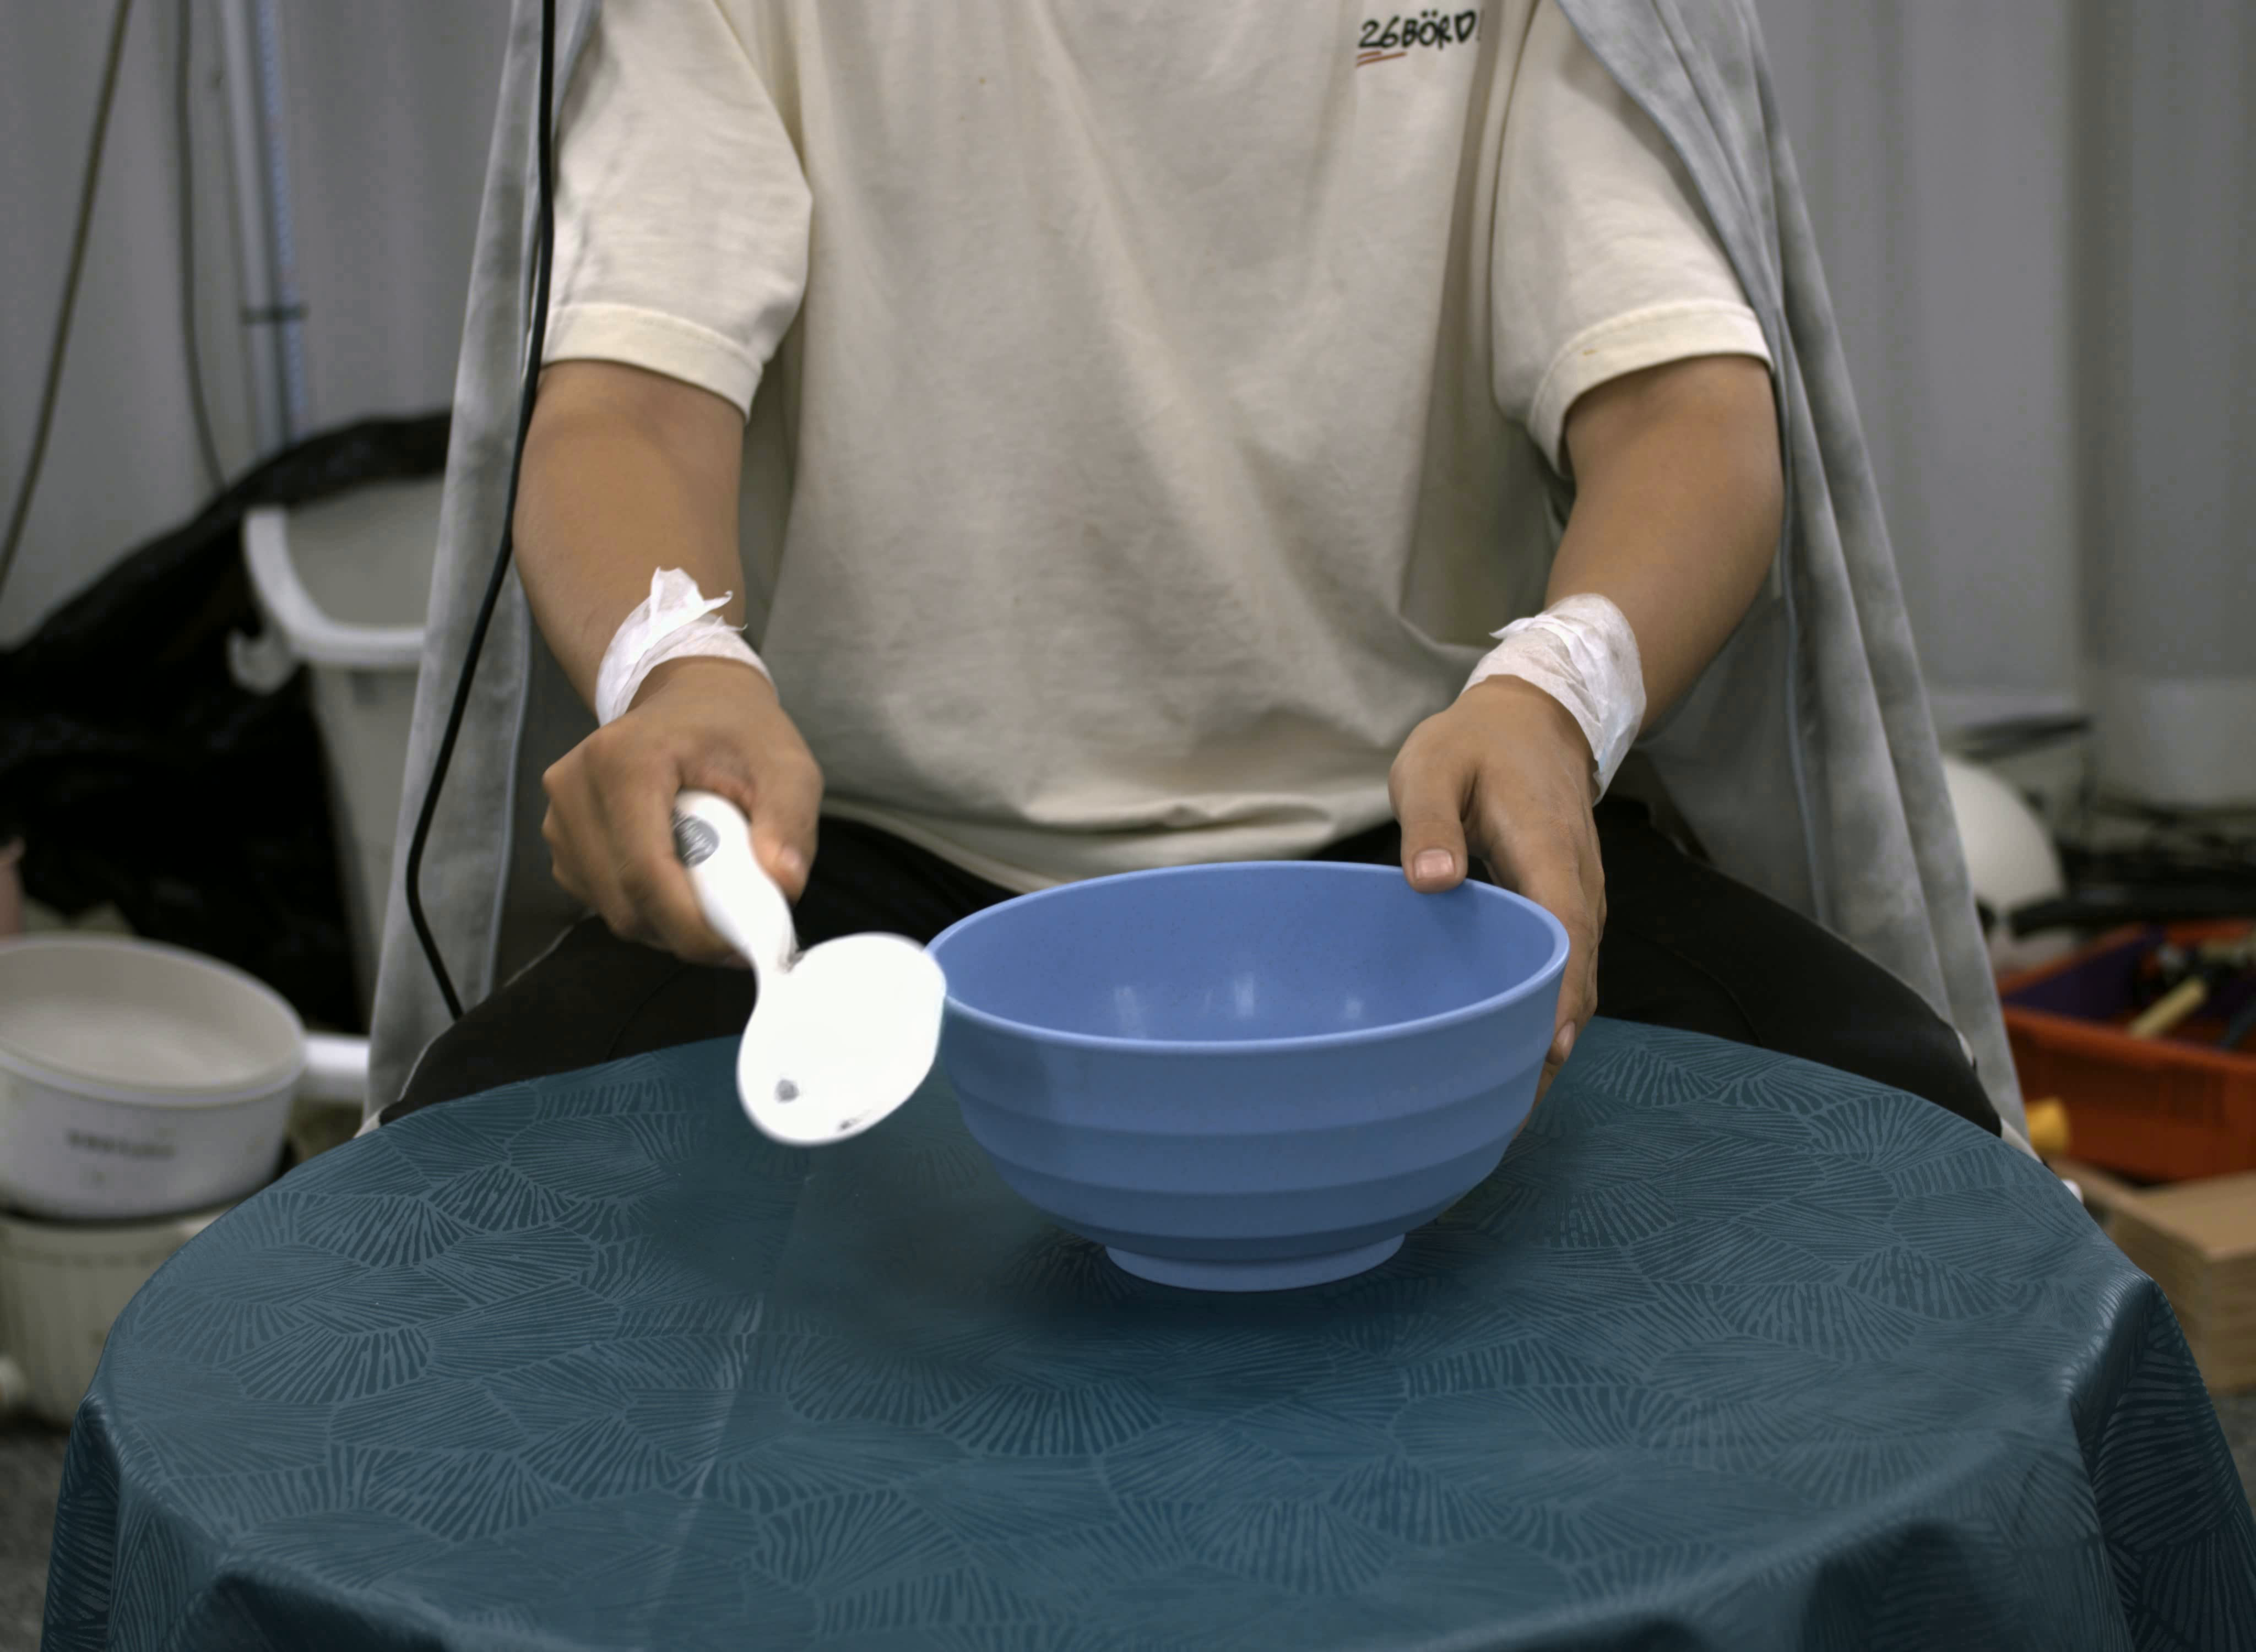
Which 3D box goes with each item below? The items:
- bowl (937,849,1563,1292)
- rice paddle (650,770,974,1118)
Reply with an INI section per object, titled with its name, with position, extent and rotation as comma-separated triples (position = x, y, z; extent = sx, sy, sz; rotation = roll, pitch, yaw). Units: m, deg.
[bowl]
position = 0.036, 0.080, 1.654
extent = 0.196, 0.095, 0.198
rotation = -4, 17, 1
[rice paddle]
position = -0.097, 0.032, 1.628
extent = 0.069, 0.029, 0.207
rotation = -42, 31, -2
